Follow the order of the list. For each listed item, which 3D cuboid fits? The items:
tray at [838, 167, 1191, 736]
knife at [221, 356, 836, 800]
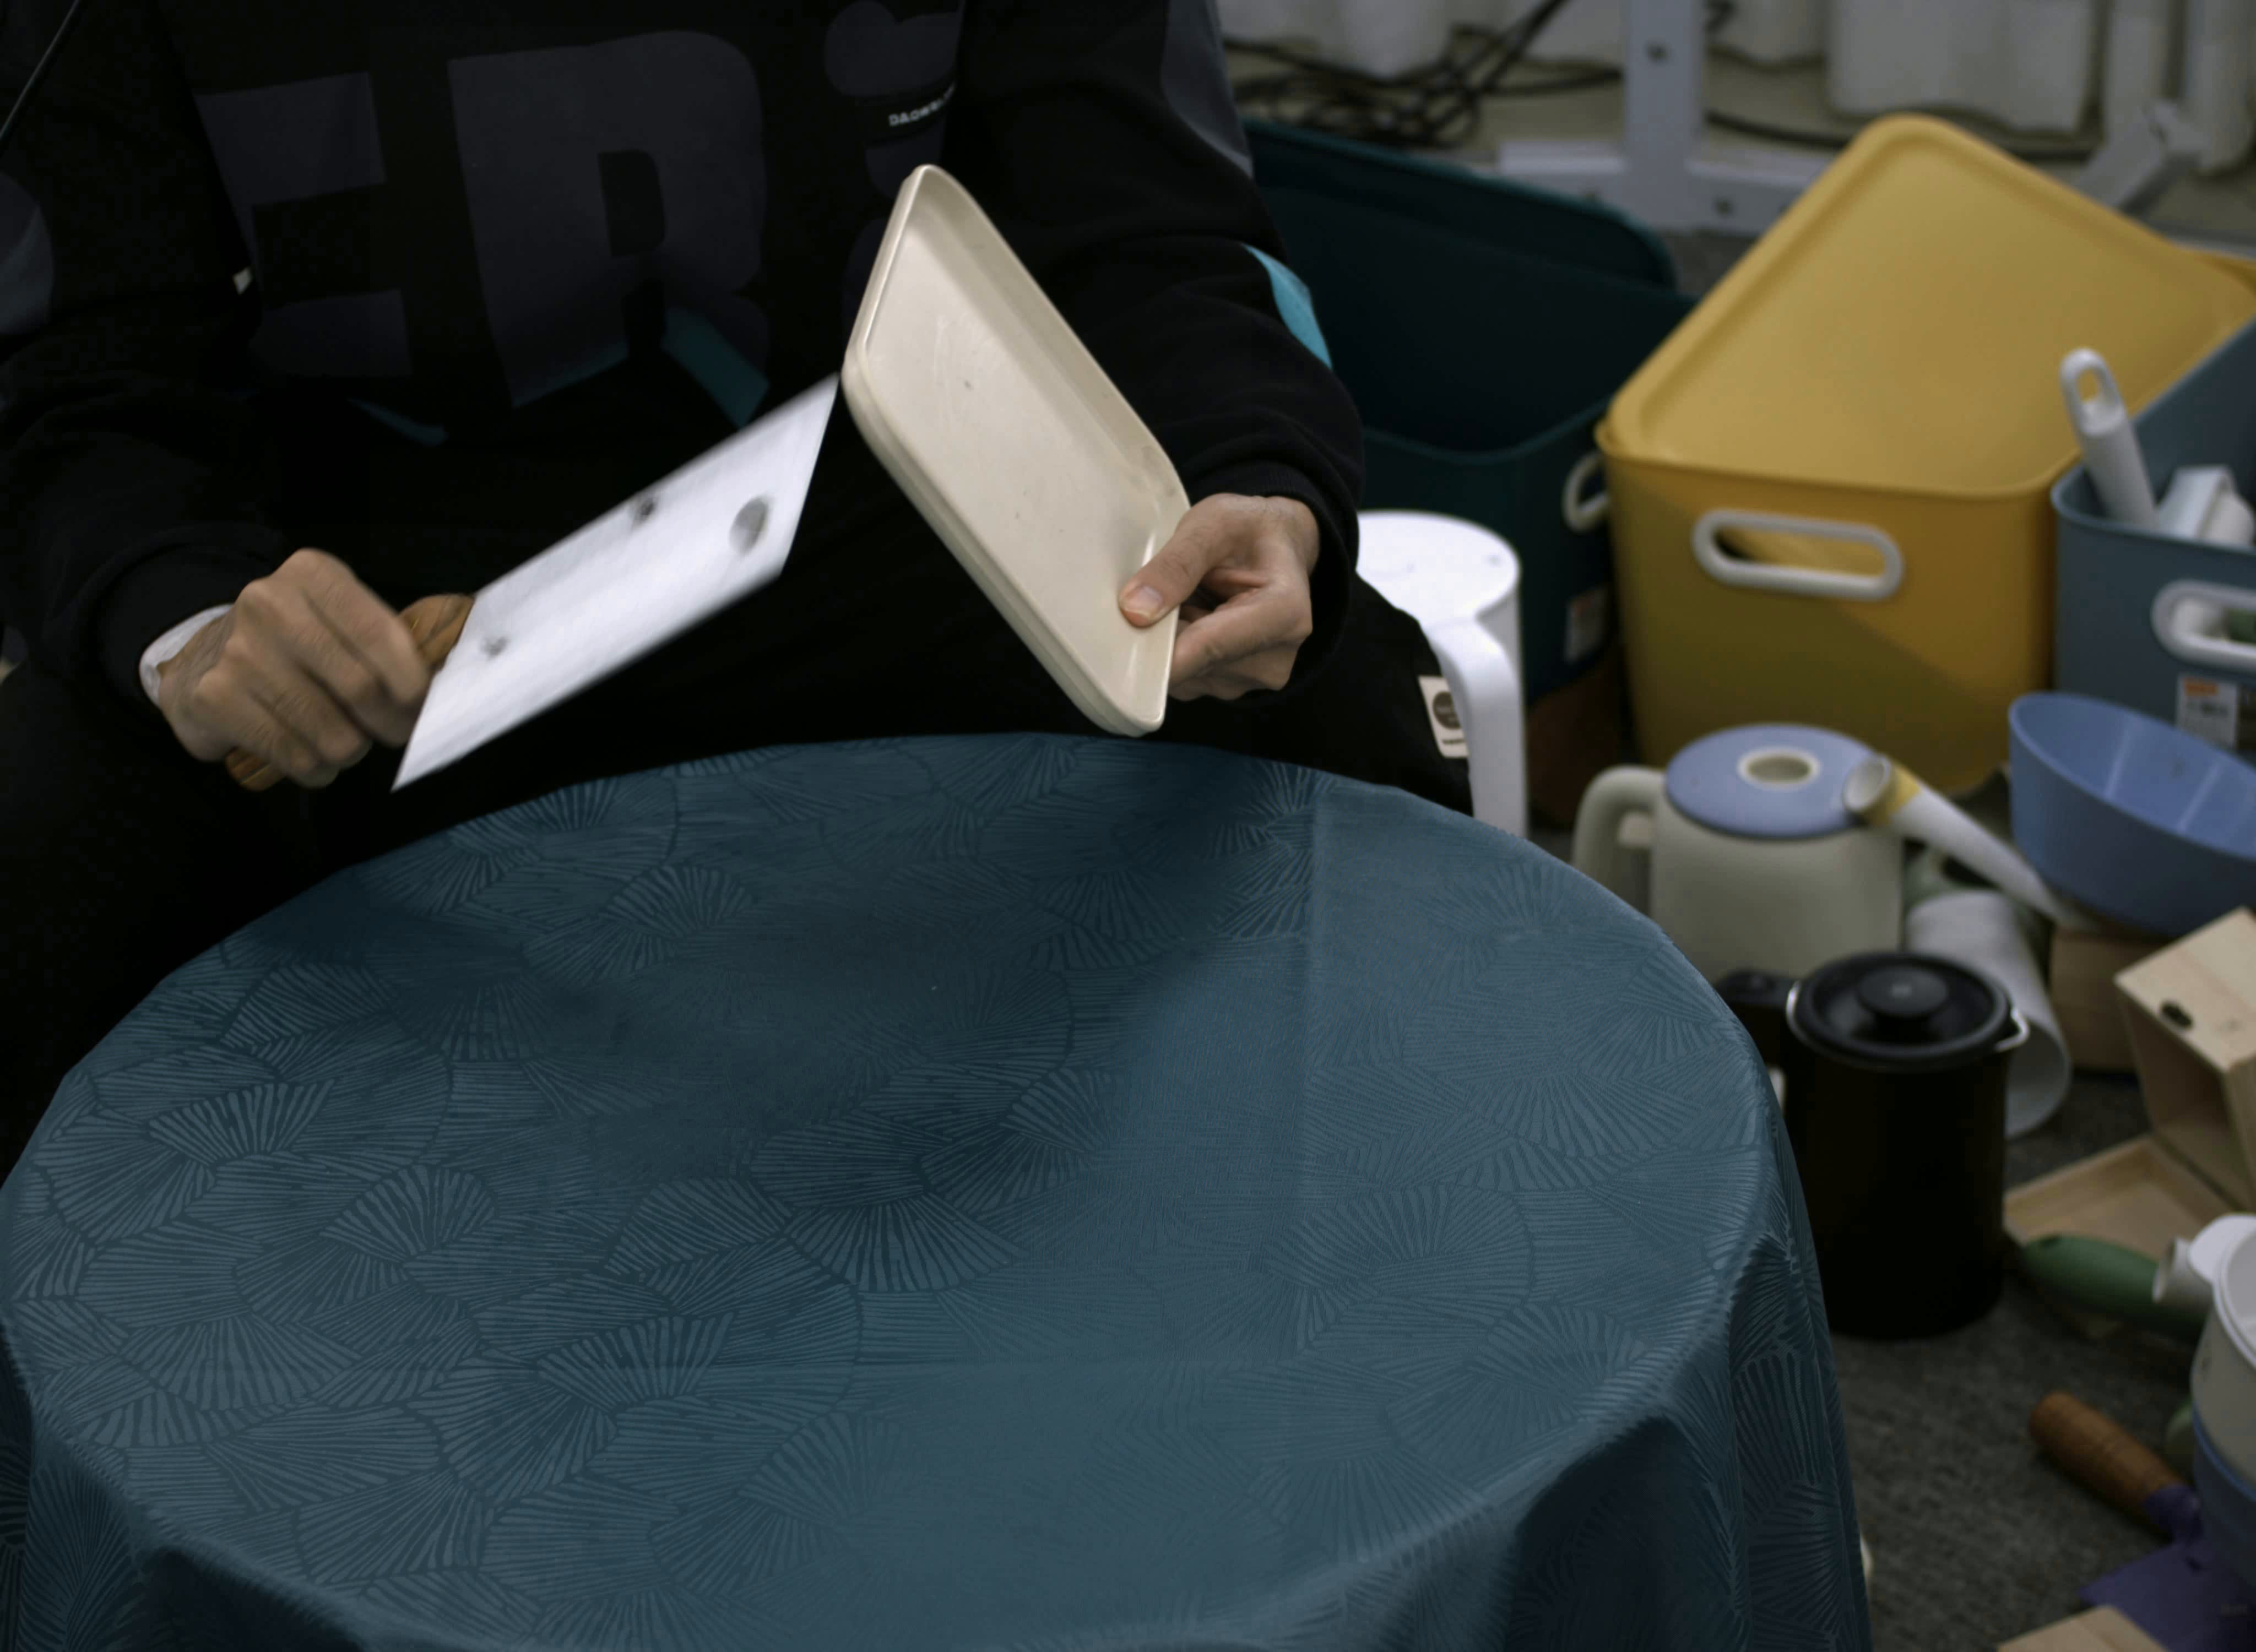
[{"bbox_3d":[-0.039,-0.132,1.971,0.017,0.170,0.243,-34,17,17],"label":"tray"},{"bbox_3d":[-0.210,-0.066,1.915,0.301,0.021,0.095,-29,33,32],"label":"knife"}]
